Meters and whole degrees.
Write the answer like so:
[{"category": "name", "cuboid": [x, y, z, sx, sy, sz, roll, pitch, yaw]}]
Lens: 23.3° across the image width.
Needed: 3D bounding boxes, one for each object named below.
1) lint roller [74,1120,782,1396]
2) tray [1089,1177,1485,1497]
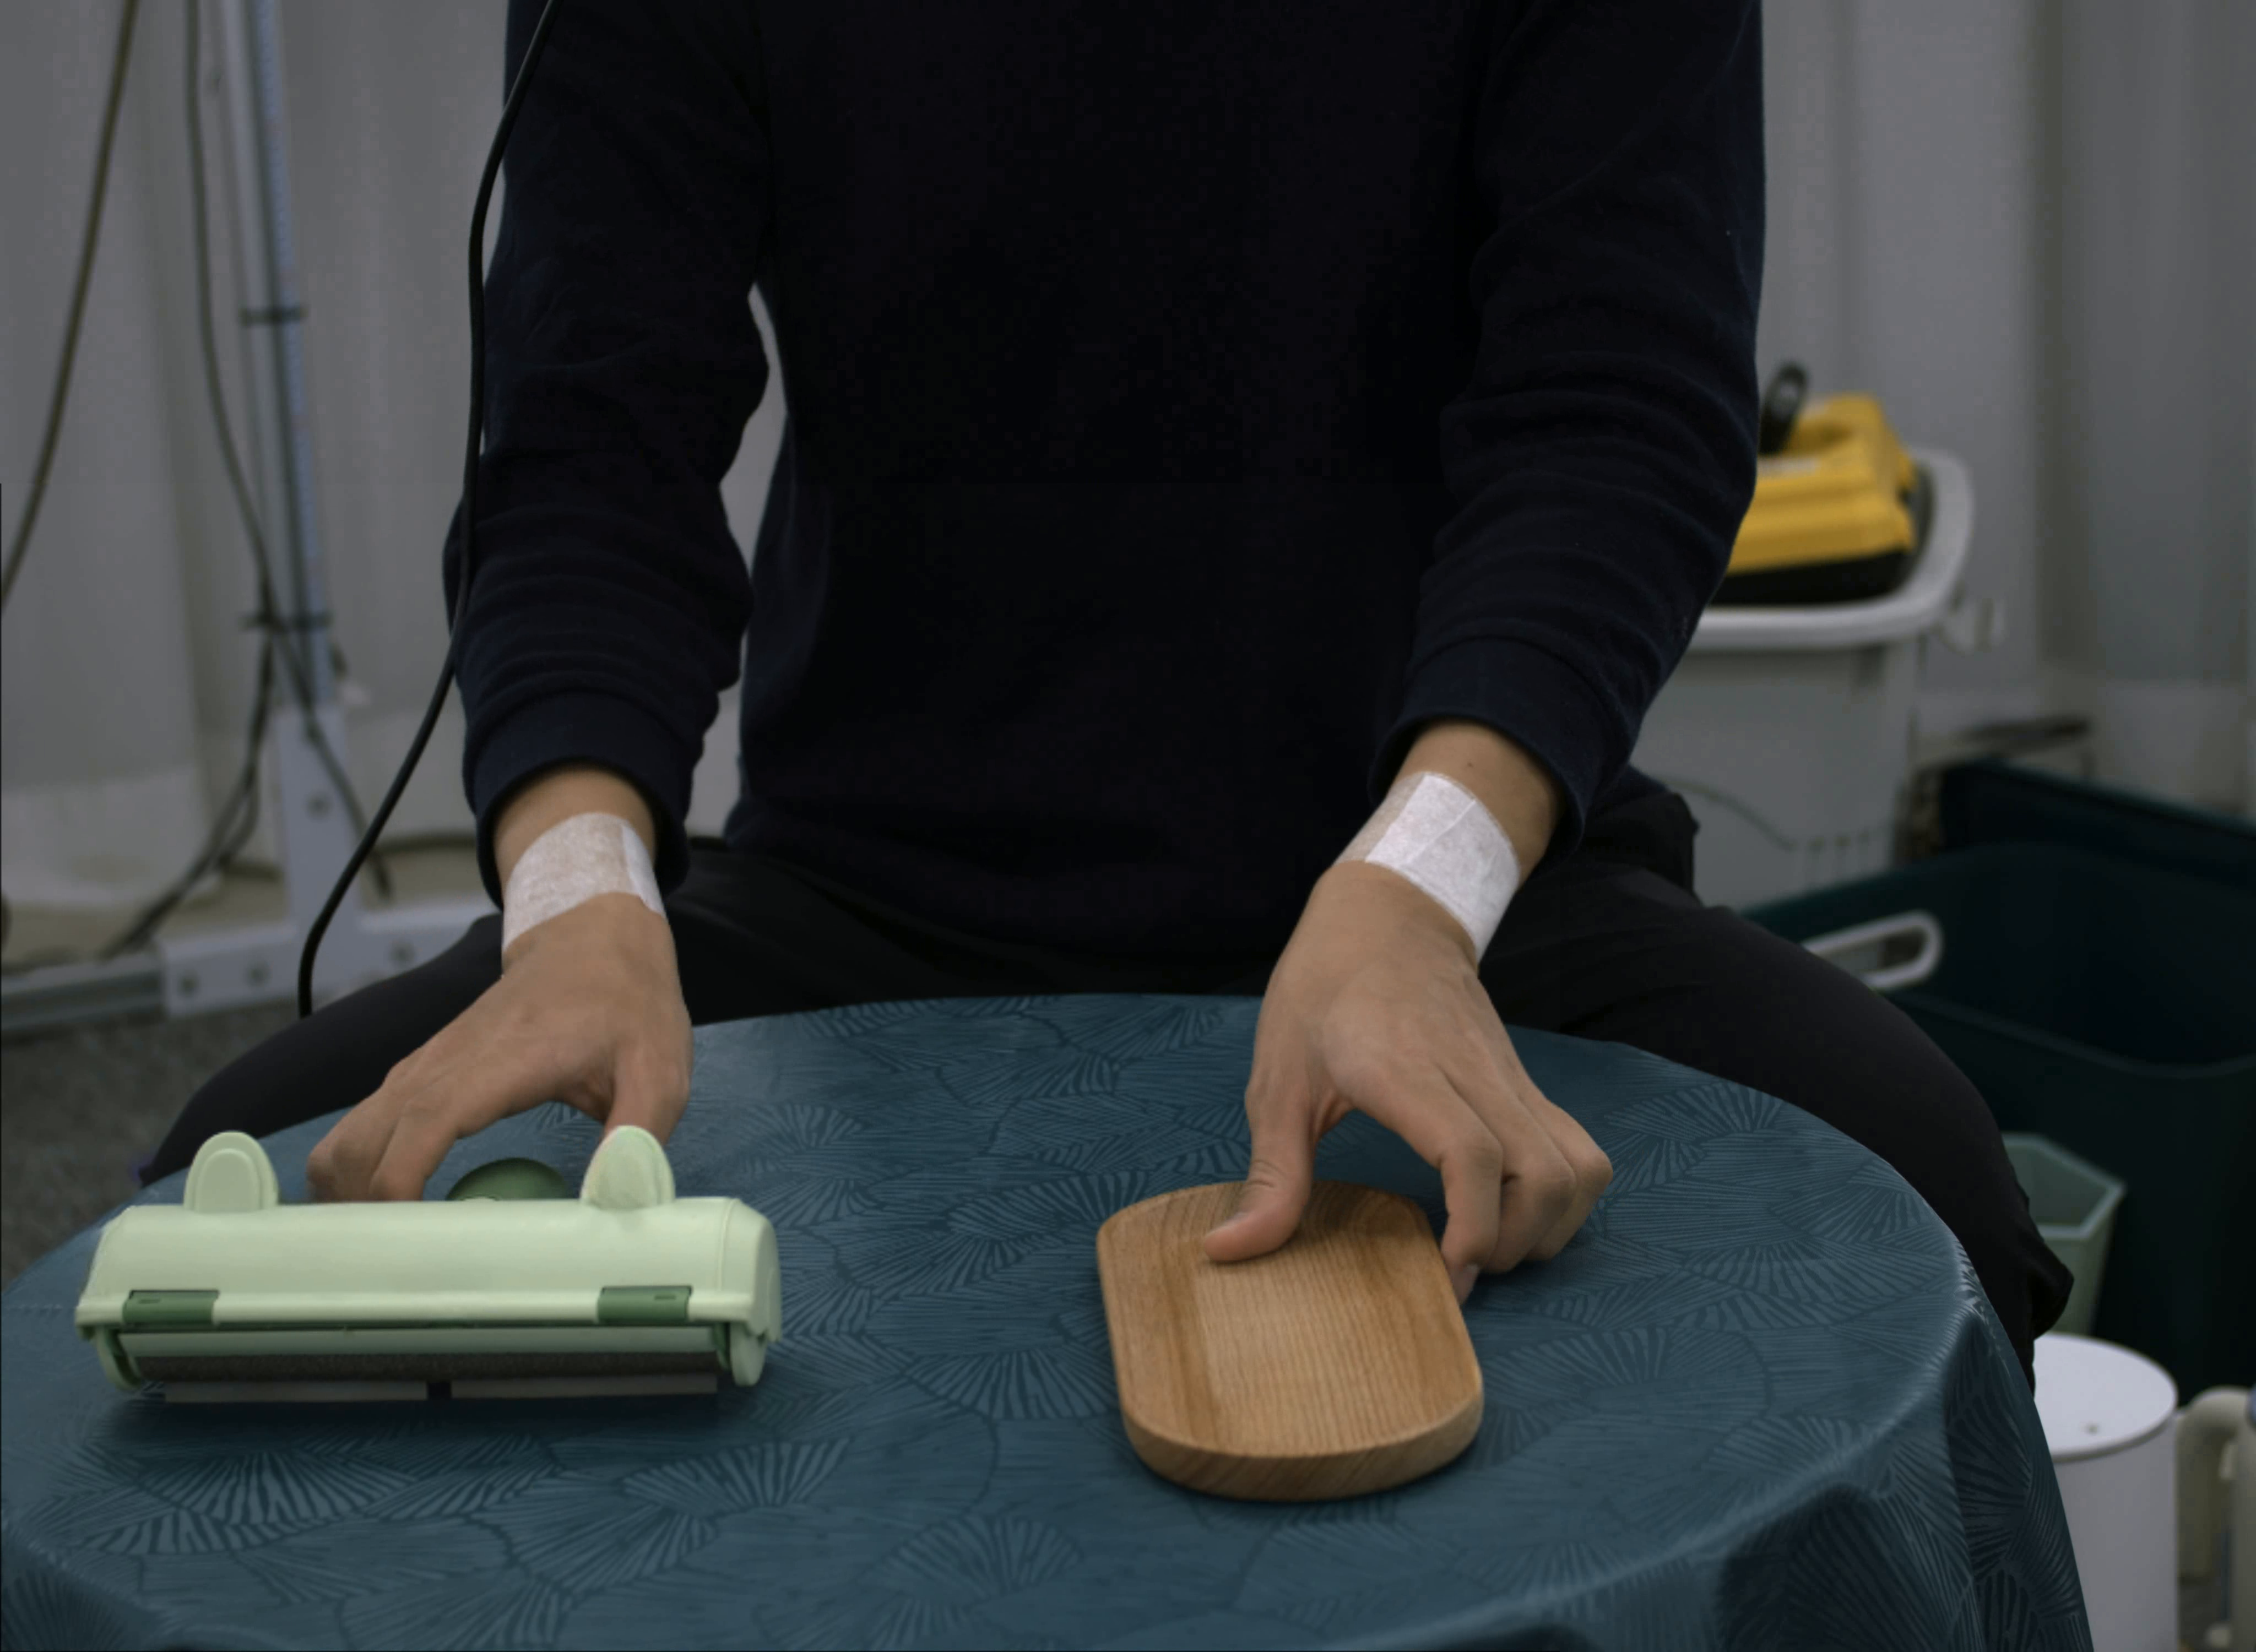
[{"category": "lint roller", "cuboid": [-0.195, 0.107, 1.615, 0.198, 0.081, 0.185, -1, 21, 5]}, {"category": "tray", "cuboid": [0.043, 0.144, 1.567, 0.101, 0.020, 0.232, -4, 14, -3]}]
